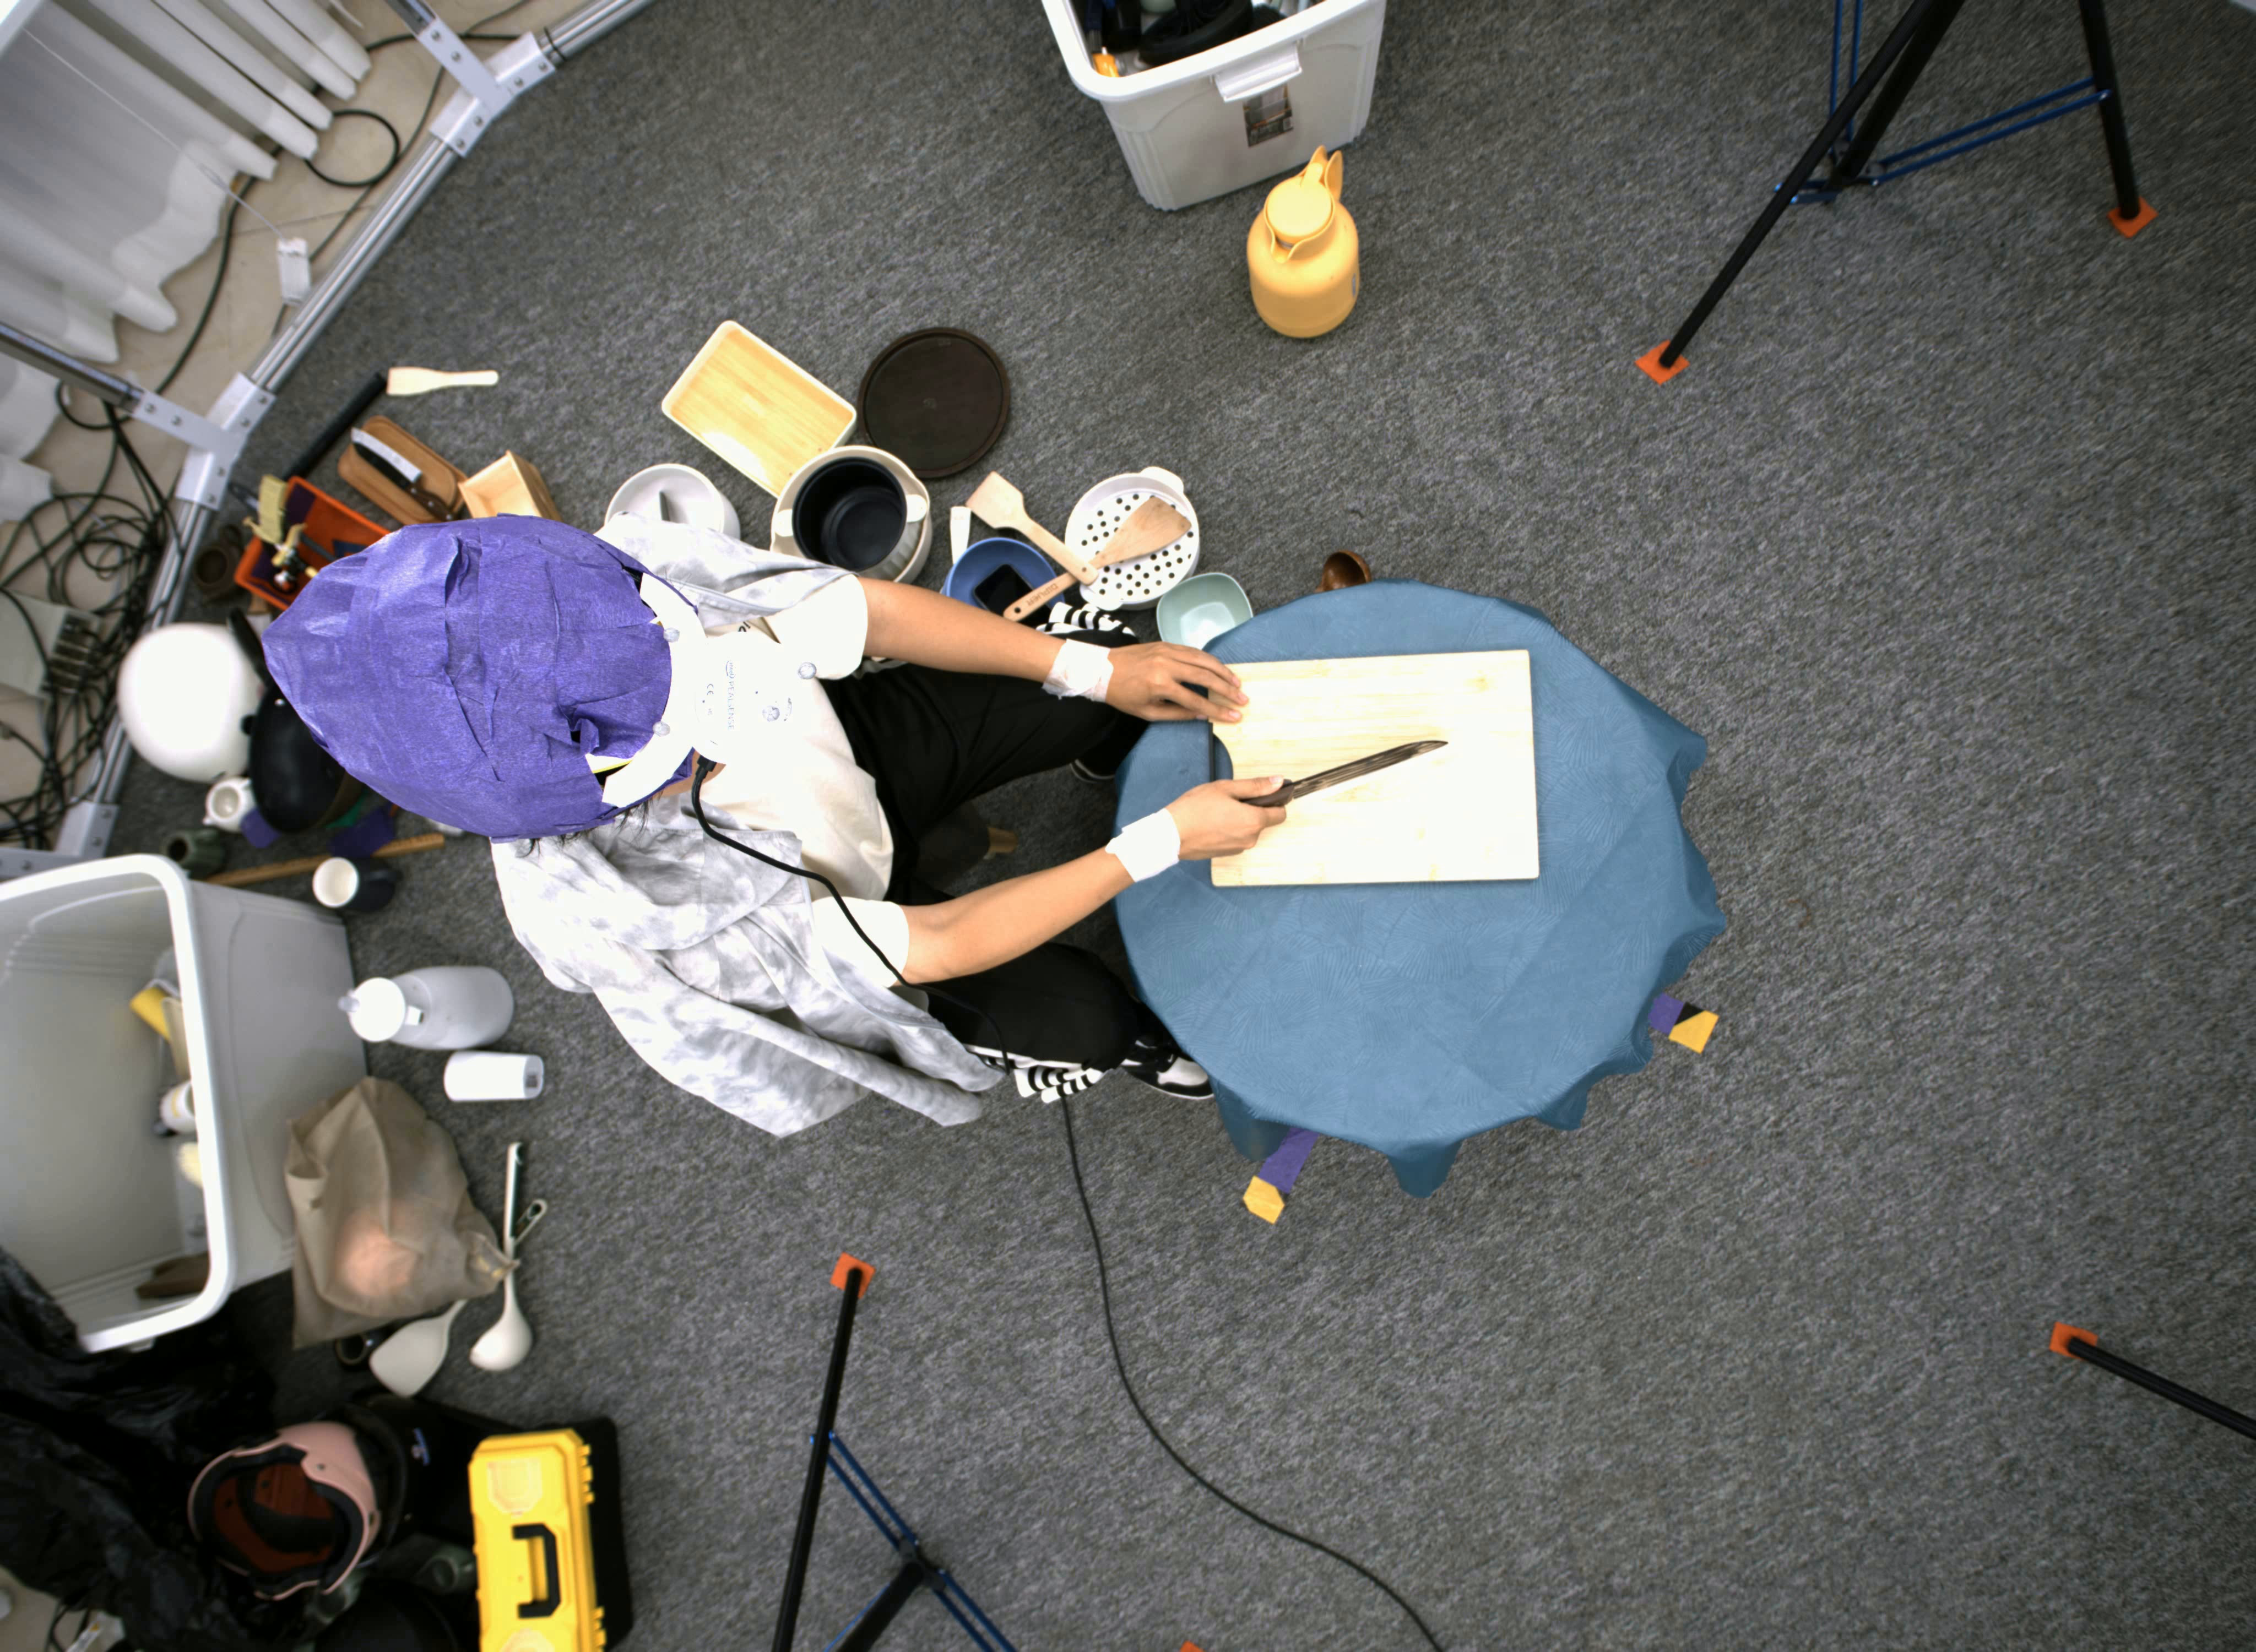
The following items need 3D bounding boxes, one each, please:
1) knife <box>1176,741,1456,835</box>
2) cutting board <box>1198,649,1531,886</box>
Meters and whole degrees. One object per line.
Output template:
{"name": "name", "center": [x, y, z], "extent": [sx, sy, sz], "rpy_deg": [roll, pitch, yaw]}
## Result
{"name": "knife", "center": [0.196, -0.041, 1.423], "extent": [0.301, 0.069, 0.023], "rpy_deg": [-19, 68, 6]}
{"name": "cutting board", "center": [0.250, -0.062, 1.461], "extent": [0.350, 0.023, 0.249], "rpy_deg": [-3, 86, 11]}
